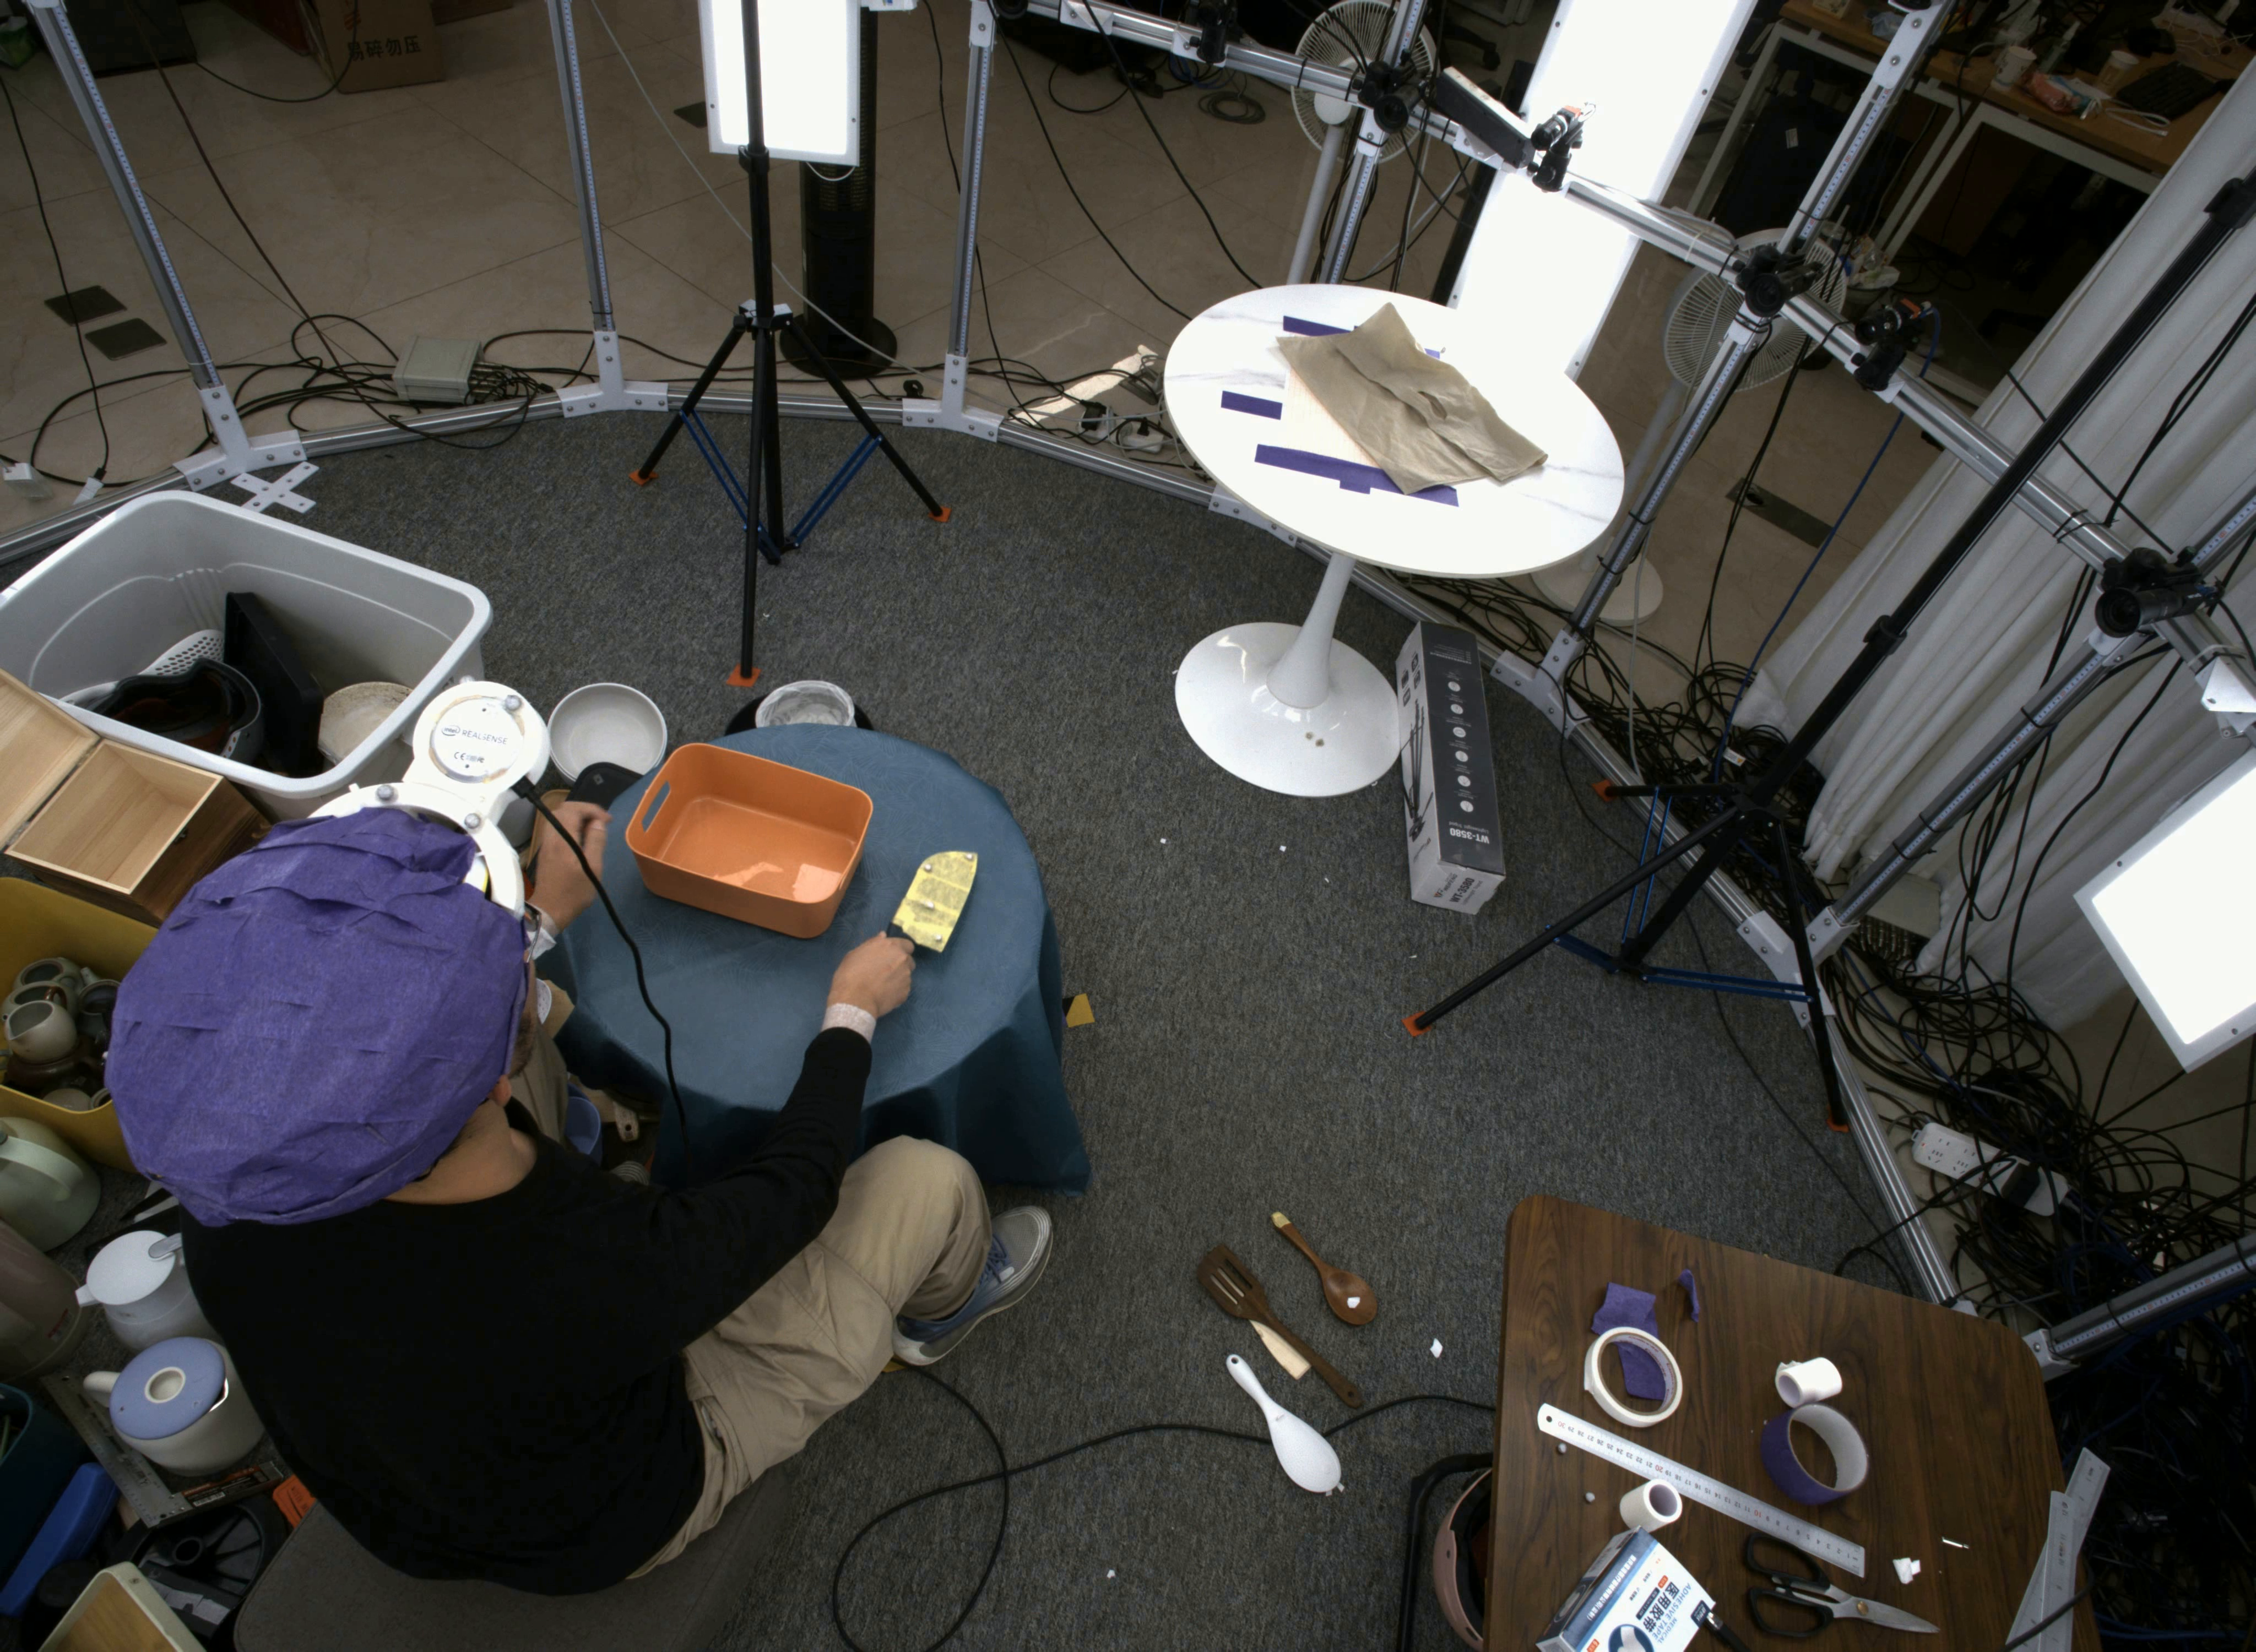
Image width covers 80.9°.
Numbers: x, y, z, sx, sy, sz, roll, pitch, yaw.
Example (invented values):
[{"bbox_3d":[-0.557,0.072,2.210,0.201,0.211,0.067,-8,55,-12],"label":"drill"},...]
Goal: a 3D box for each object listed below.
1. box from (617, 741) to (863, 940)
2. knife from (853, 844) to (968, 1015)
[{"bbox_3d":[-0.482,0.022,1.620,0.271,0.104,0.197,16,51,-2],"label":"box"},{"bbox_3d":[-0.268,0.121,1.624,0.080,0.028,0.286,22,48,1],"label":"knife"}]
